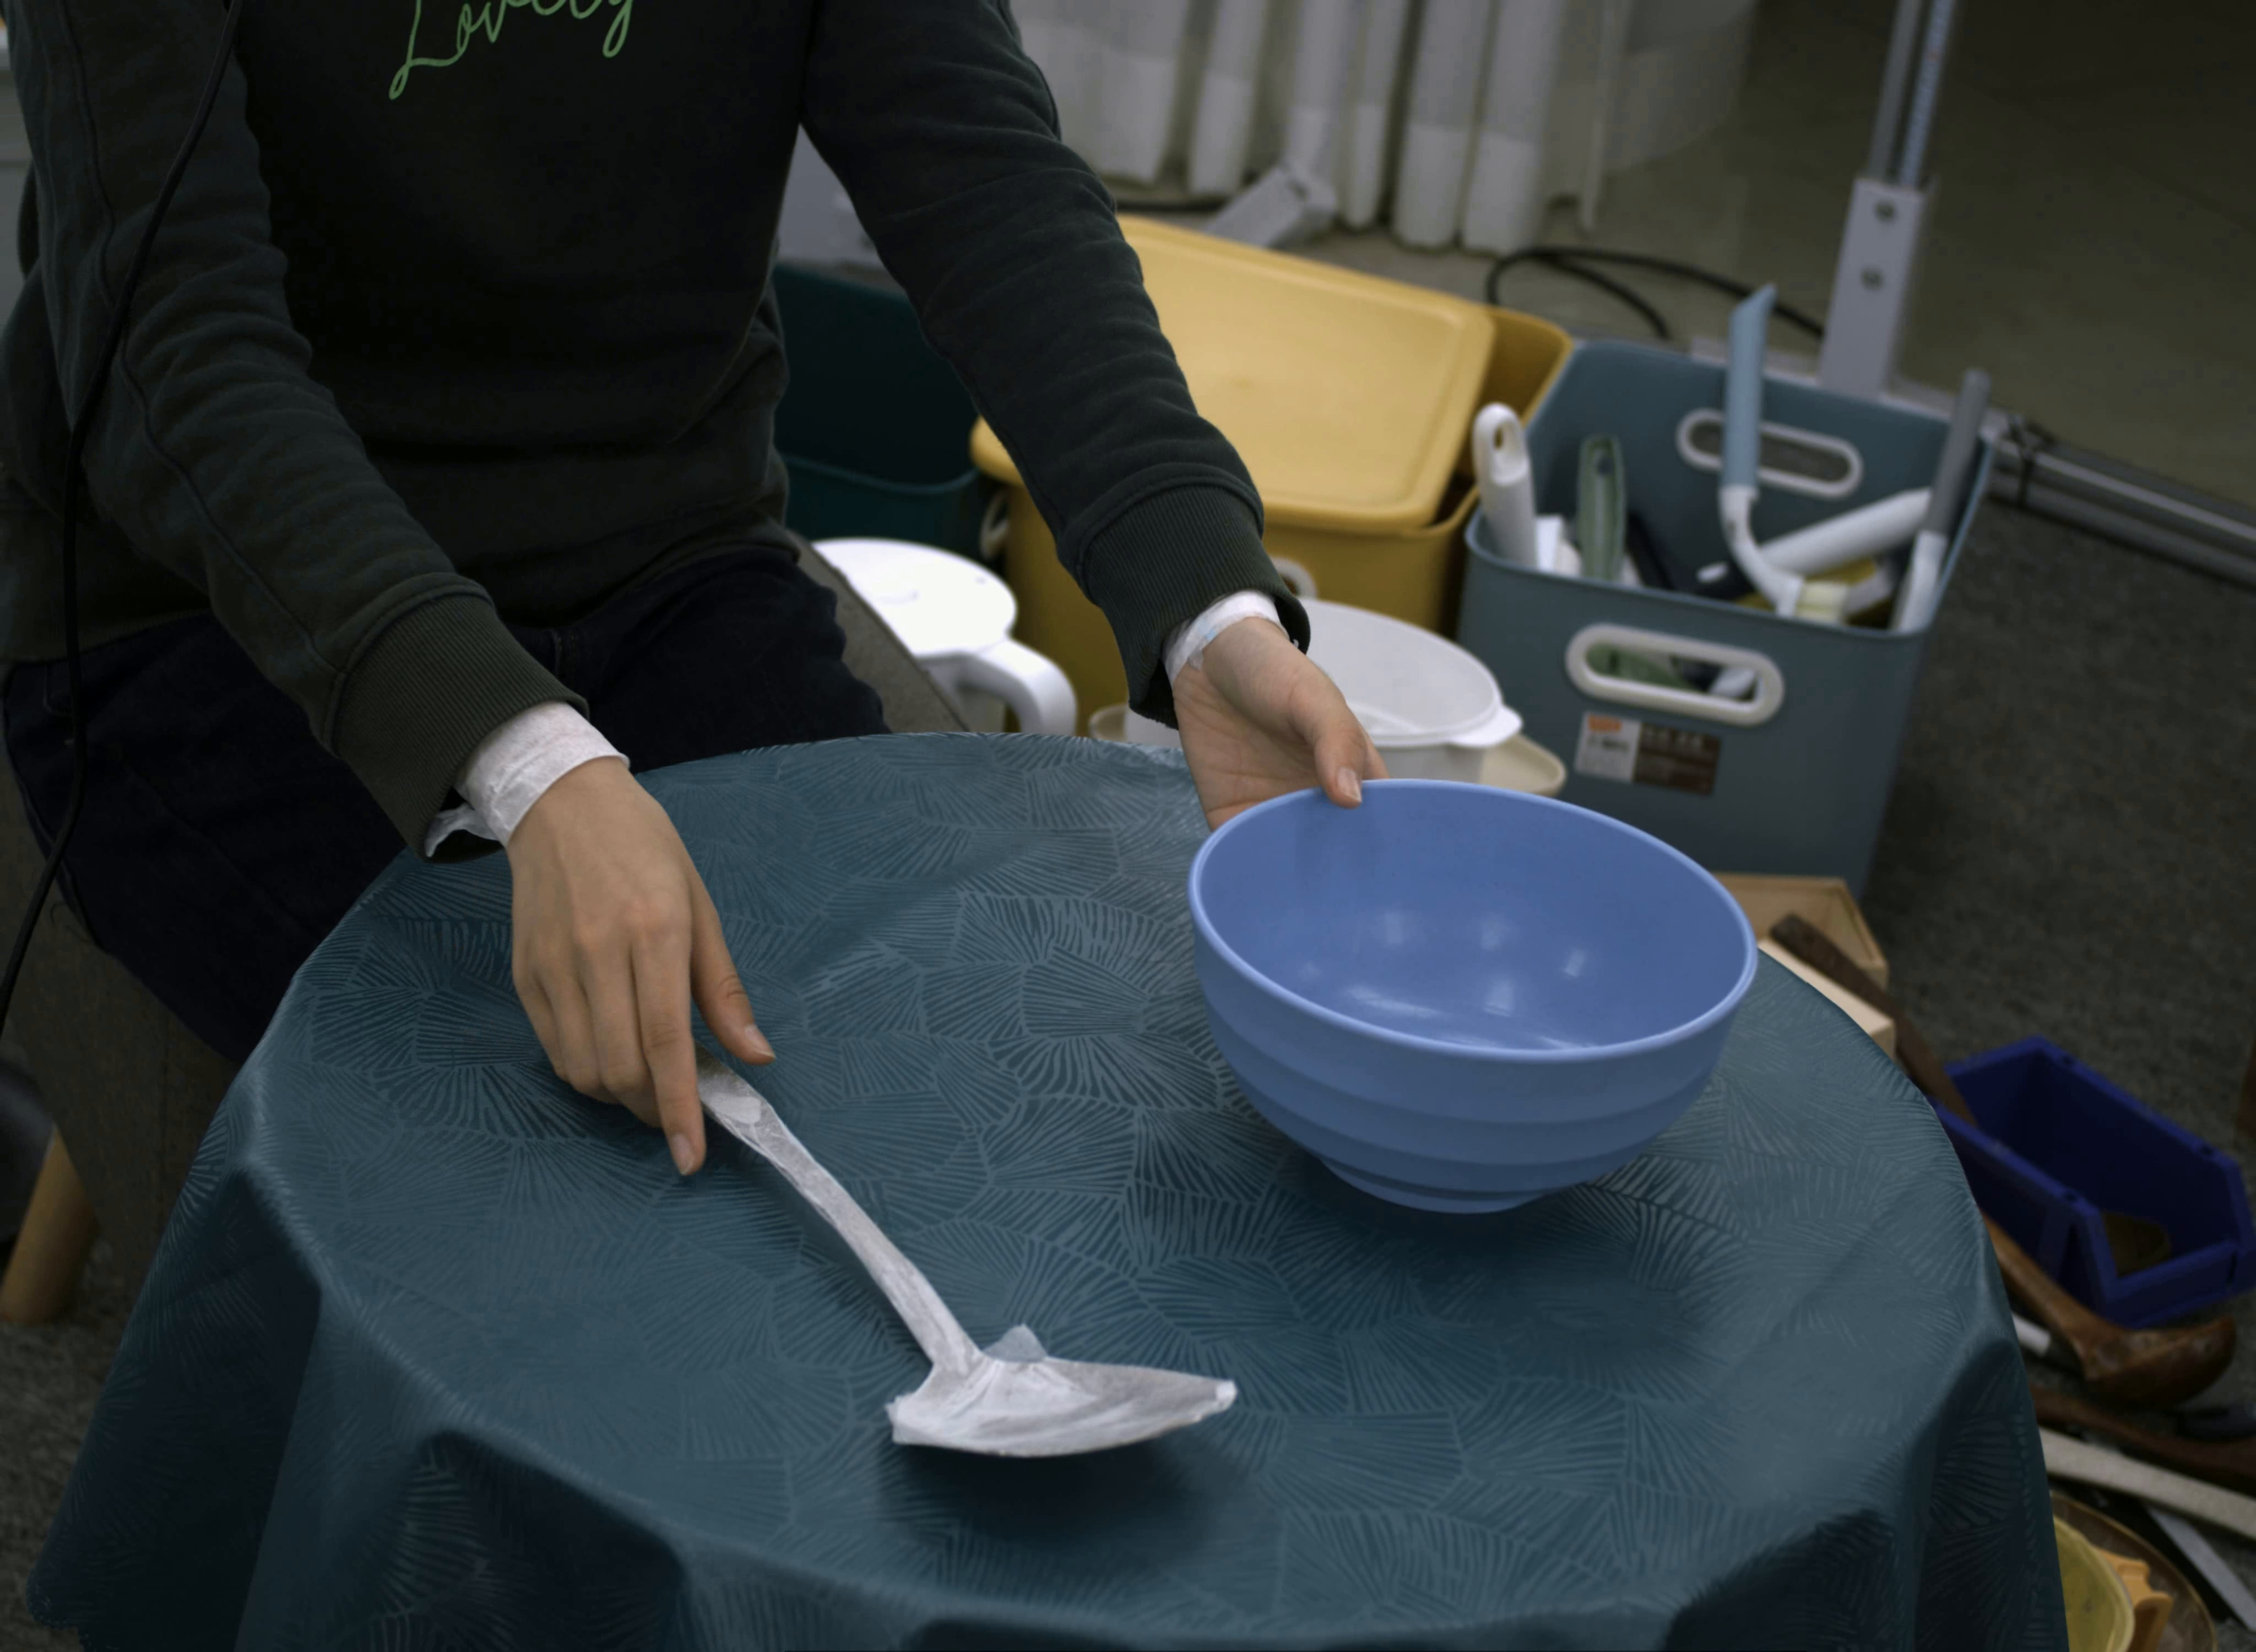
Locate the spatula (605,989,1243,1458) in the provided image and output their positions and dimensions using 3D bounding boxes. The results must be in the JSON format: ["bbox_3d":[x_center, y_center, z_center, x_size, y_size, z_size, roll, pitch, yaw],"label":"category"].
[{"bbox_3d":[-0.091,0.122,1.741,0.098,0.044,0.368,-12,32,-29],"label":"spatula"}]

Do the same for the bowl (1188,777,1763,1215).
[{"bbox_3d":[0.114,0.069,1.828,0.196,0.095,0.198,5,28,-3],"label":"bowl"}]
